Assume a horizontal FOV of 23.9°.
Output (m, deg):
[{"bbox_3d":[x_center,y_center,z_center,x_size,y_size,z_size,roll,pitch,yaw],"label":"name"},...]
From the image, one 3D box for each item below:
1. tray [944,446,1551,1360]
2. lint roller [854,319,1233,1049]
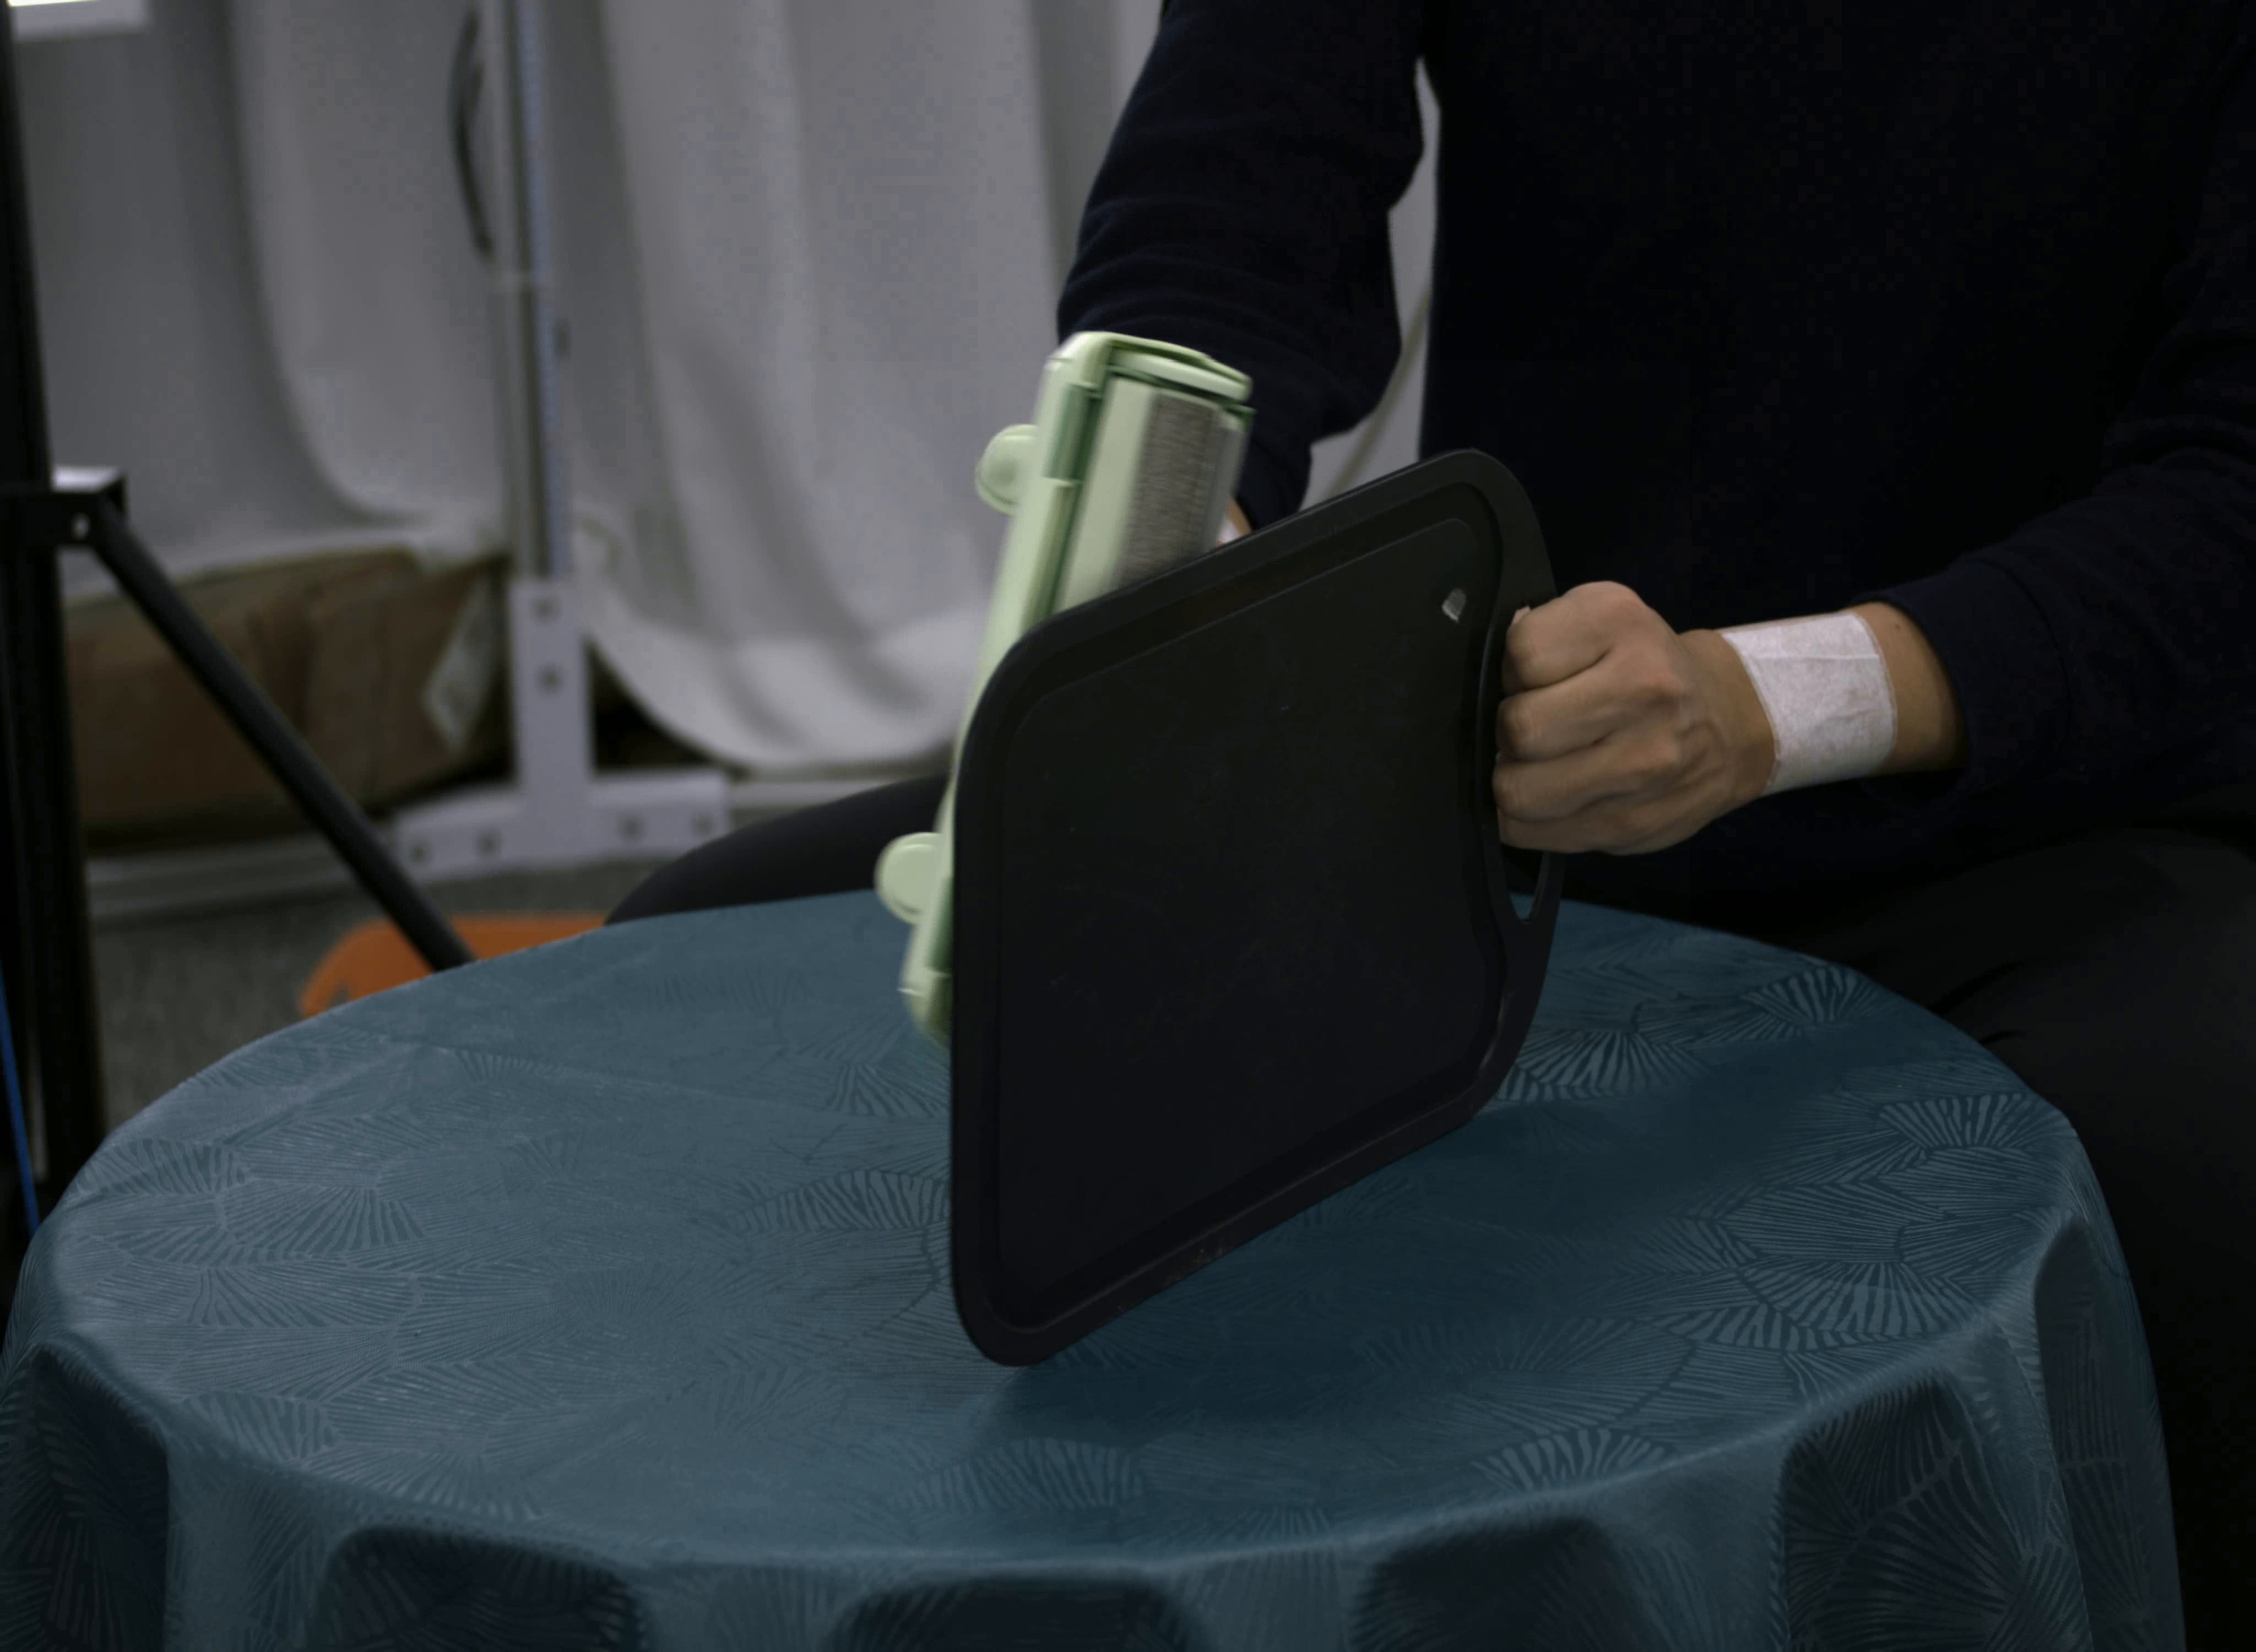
[{"bbox_3d":[0.043,0.014,1.494,0.010,0.211,0.319,12,20,31],"label":"tray"},{"bbox_3d":[-0.014,-0.034,1.496,0.083,0.199,0.181,14,-1,13],"label":"lint roller"}]
